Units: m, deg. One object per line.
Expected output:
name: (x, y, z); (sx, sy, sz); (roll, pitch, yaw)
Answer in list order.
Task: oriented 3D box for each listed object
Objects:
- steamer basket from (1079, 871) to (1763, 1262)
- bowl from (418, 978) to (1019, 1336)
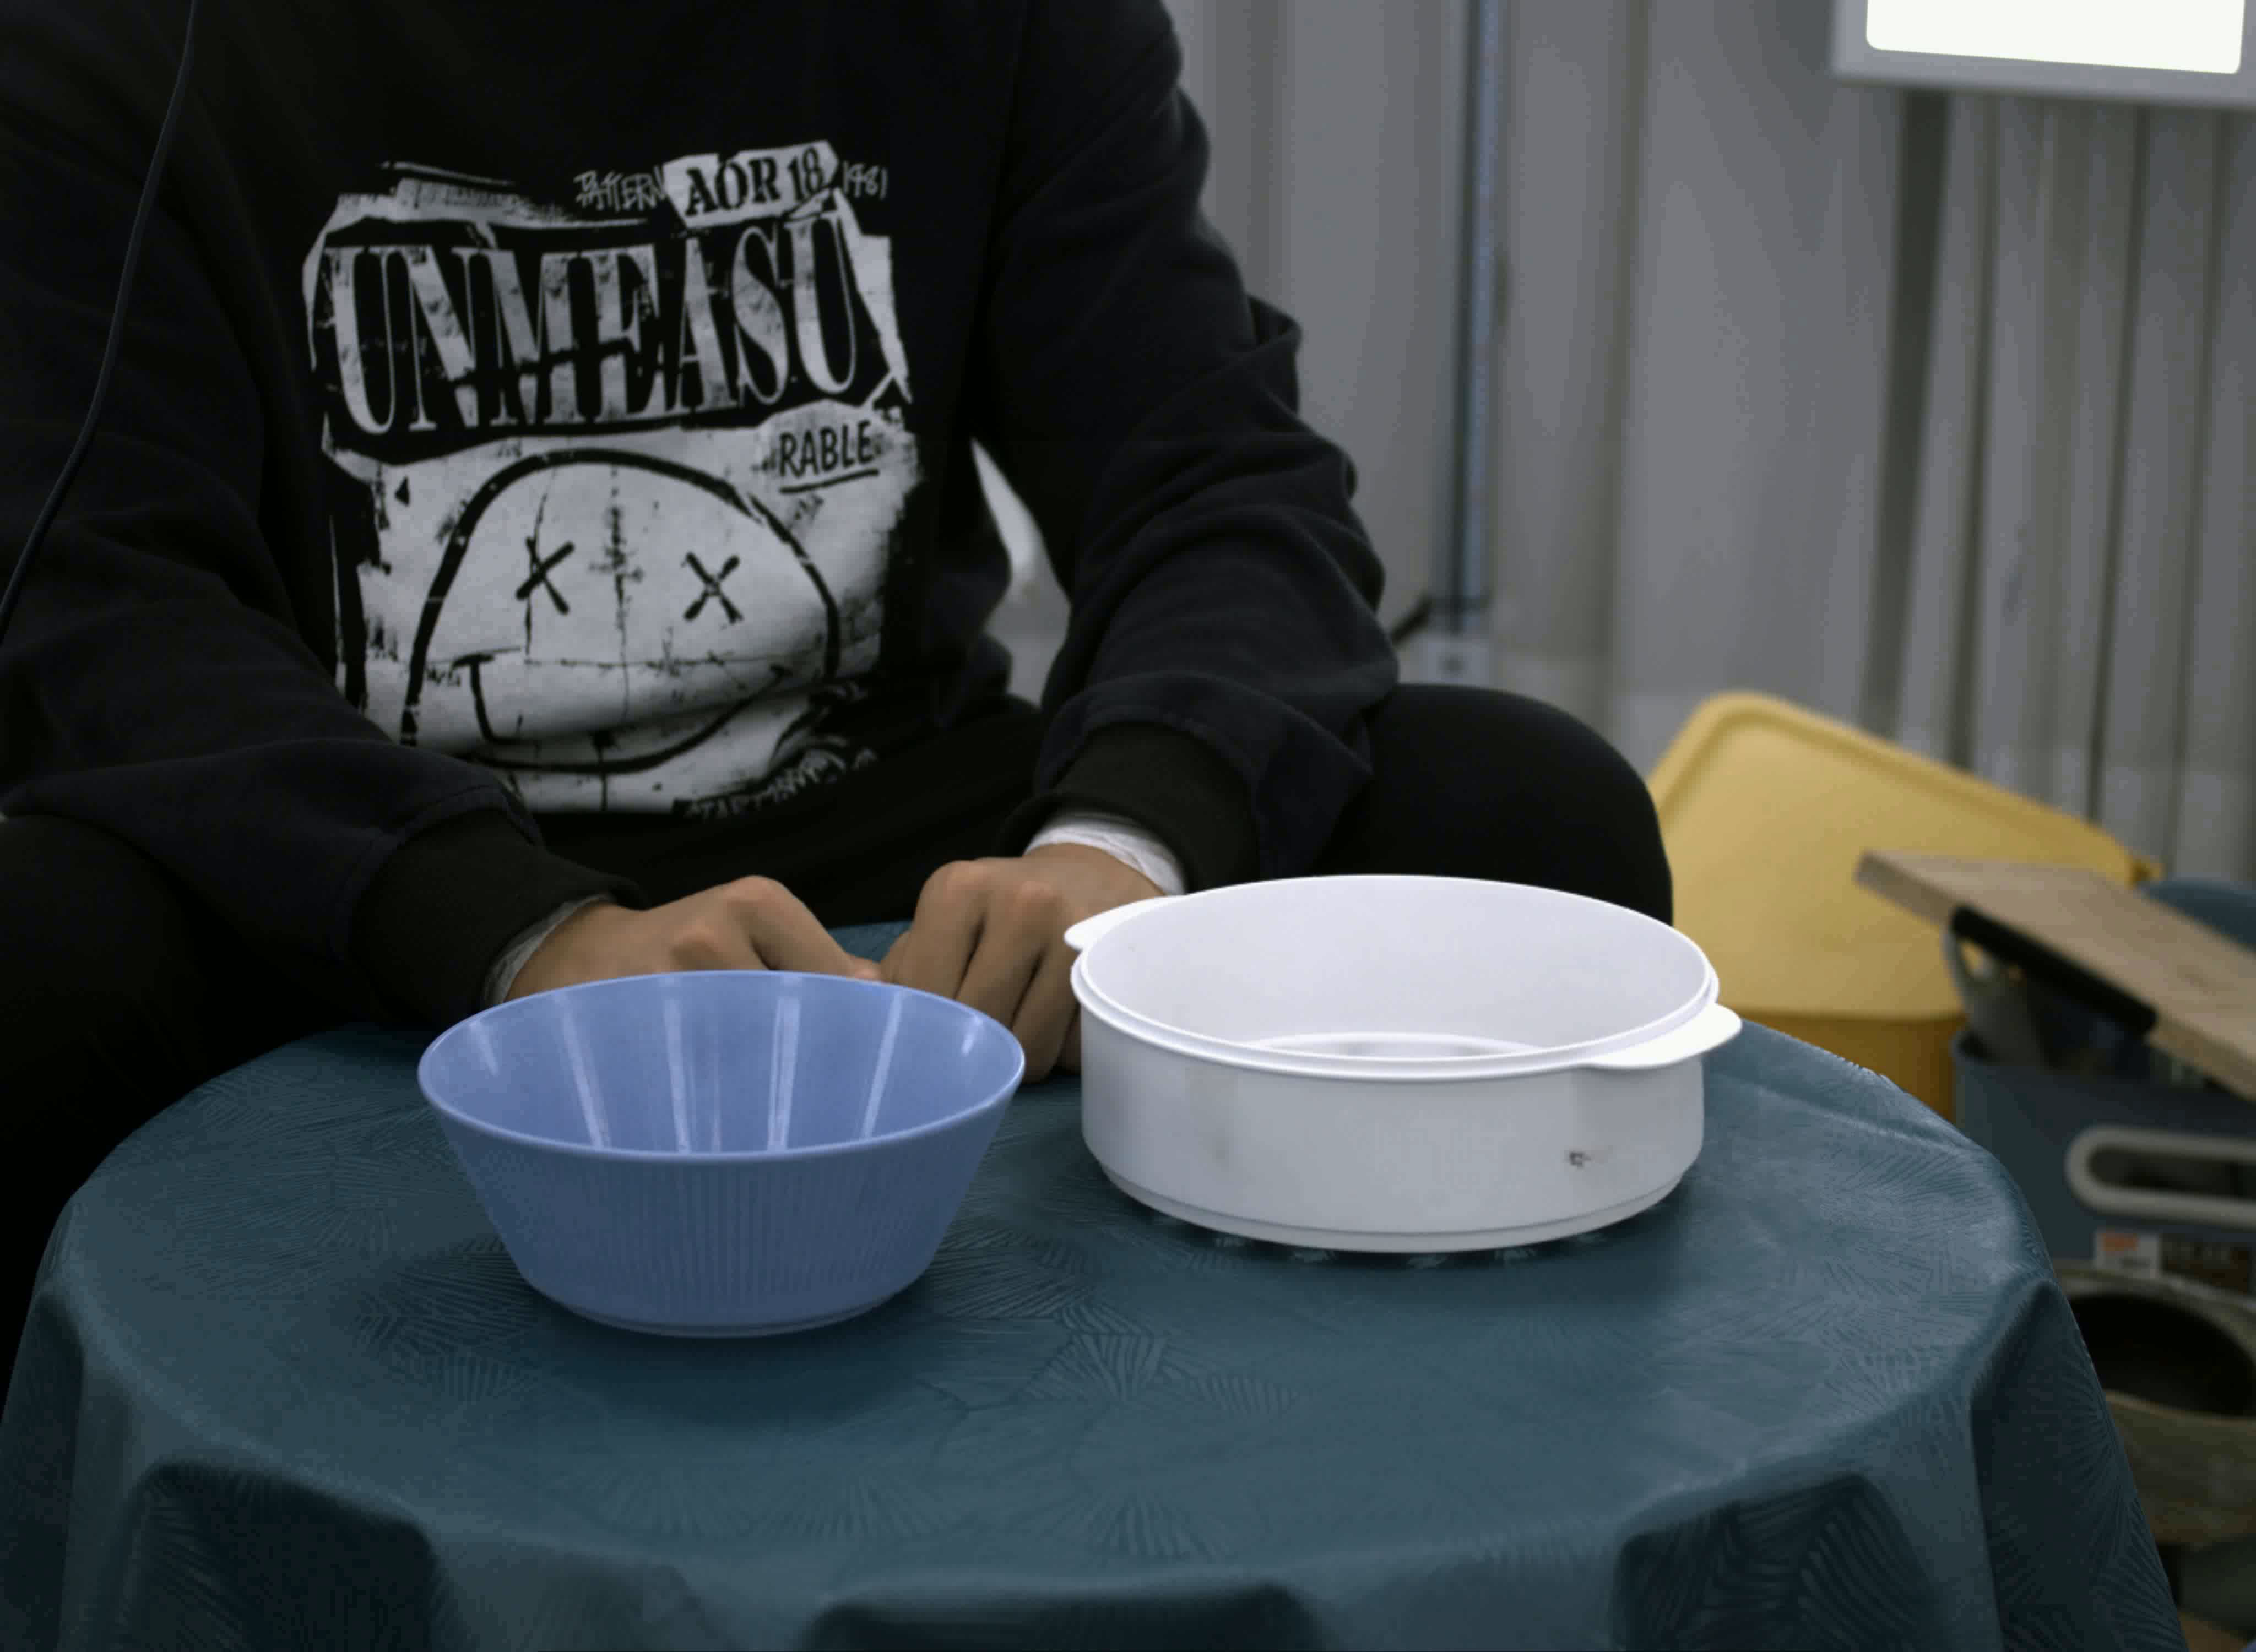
steamer basket: (0.087, 0.074, 1.639); (0.227, 0.070, 0.203); (15, 21, 34)
bowl: (-0.119, 0.099, 1.540); (0.175, 0.071, 0.175); (2, 15, 0)
